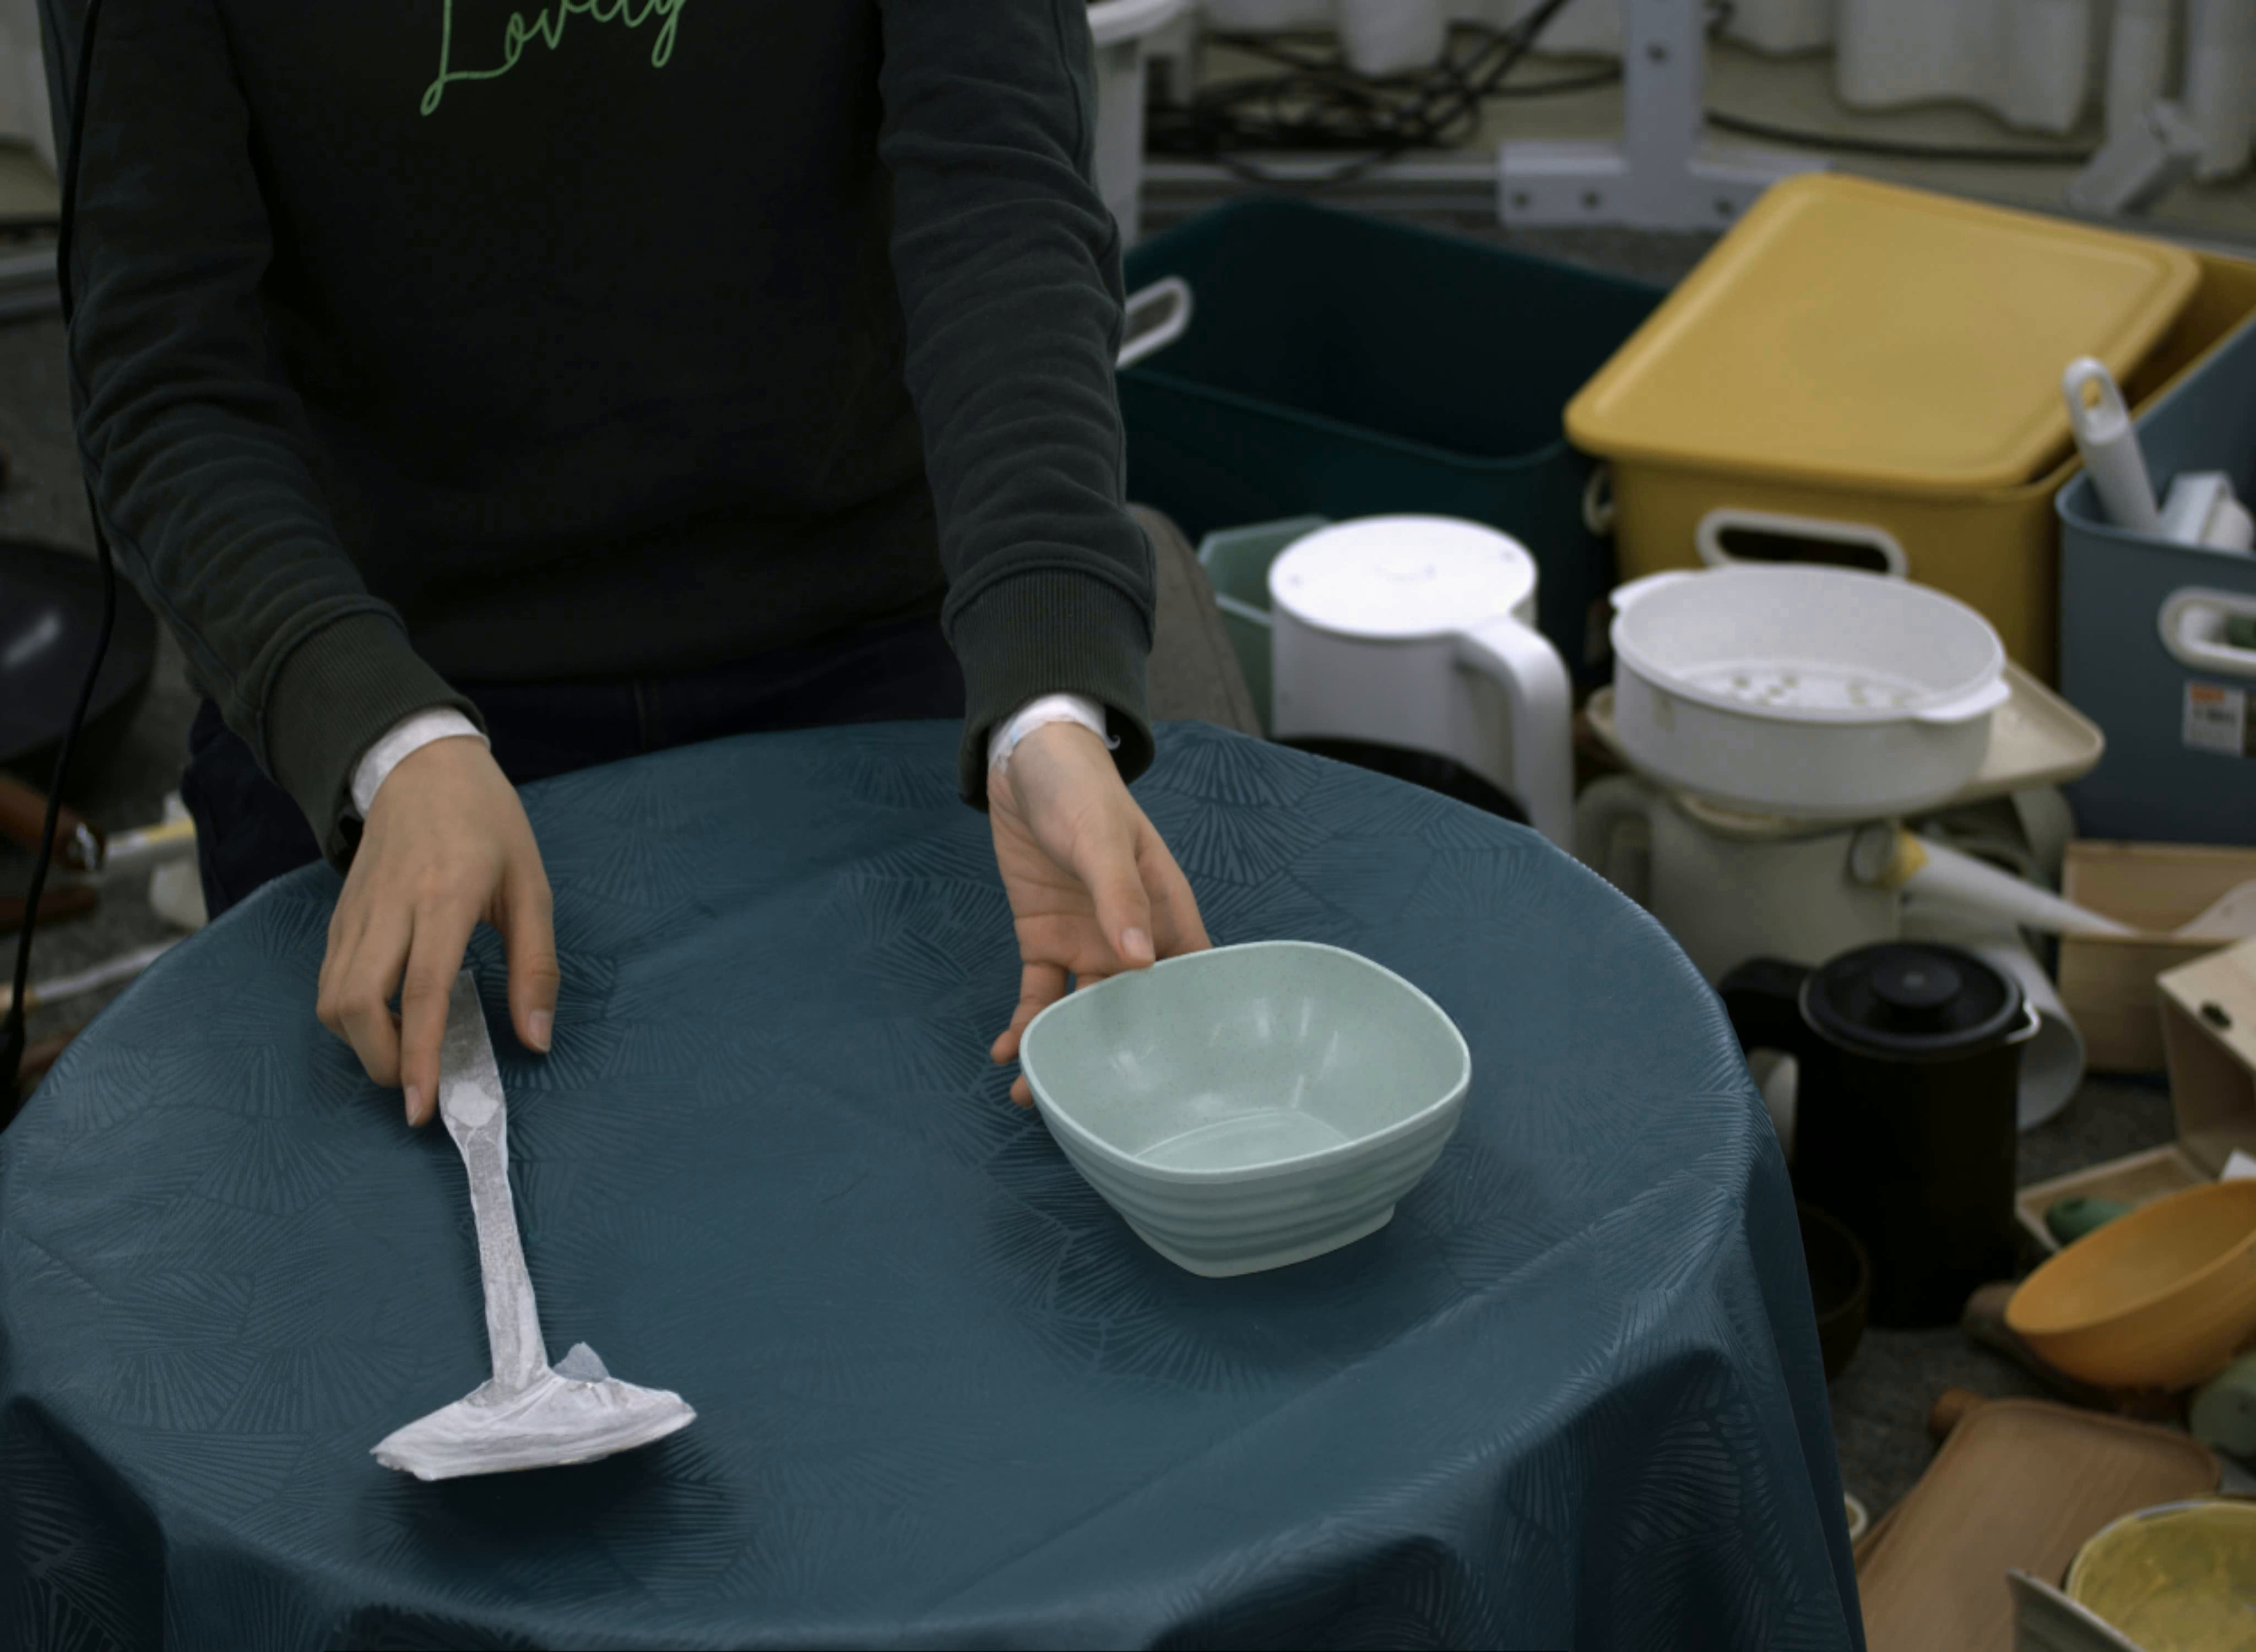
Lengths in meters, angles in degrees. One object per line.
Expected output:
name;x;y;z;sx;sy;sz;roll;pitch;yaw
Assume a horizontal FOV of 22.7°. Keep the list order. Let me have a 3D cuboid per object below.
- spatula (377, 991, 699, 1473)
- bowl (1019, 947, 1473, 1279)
spatula;-0.203;0.124;1.834;0.098;0.044;0.369;-8;28;-7
bowl;0.038;0.100;1.840;0.151;0.058;0.154;0;27;0
